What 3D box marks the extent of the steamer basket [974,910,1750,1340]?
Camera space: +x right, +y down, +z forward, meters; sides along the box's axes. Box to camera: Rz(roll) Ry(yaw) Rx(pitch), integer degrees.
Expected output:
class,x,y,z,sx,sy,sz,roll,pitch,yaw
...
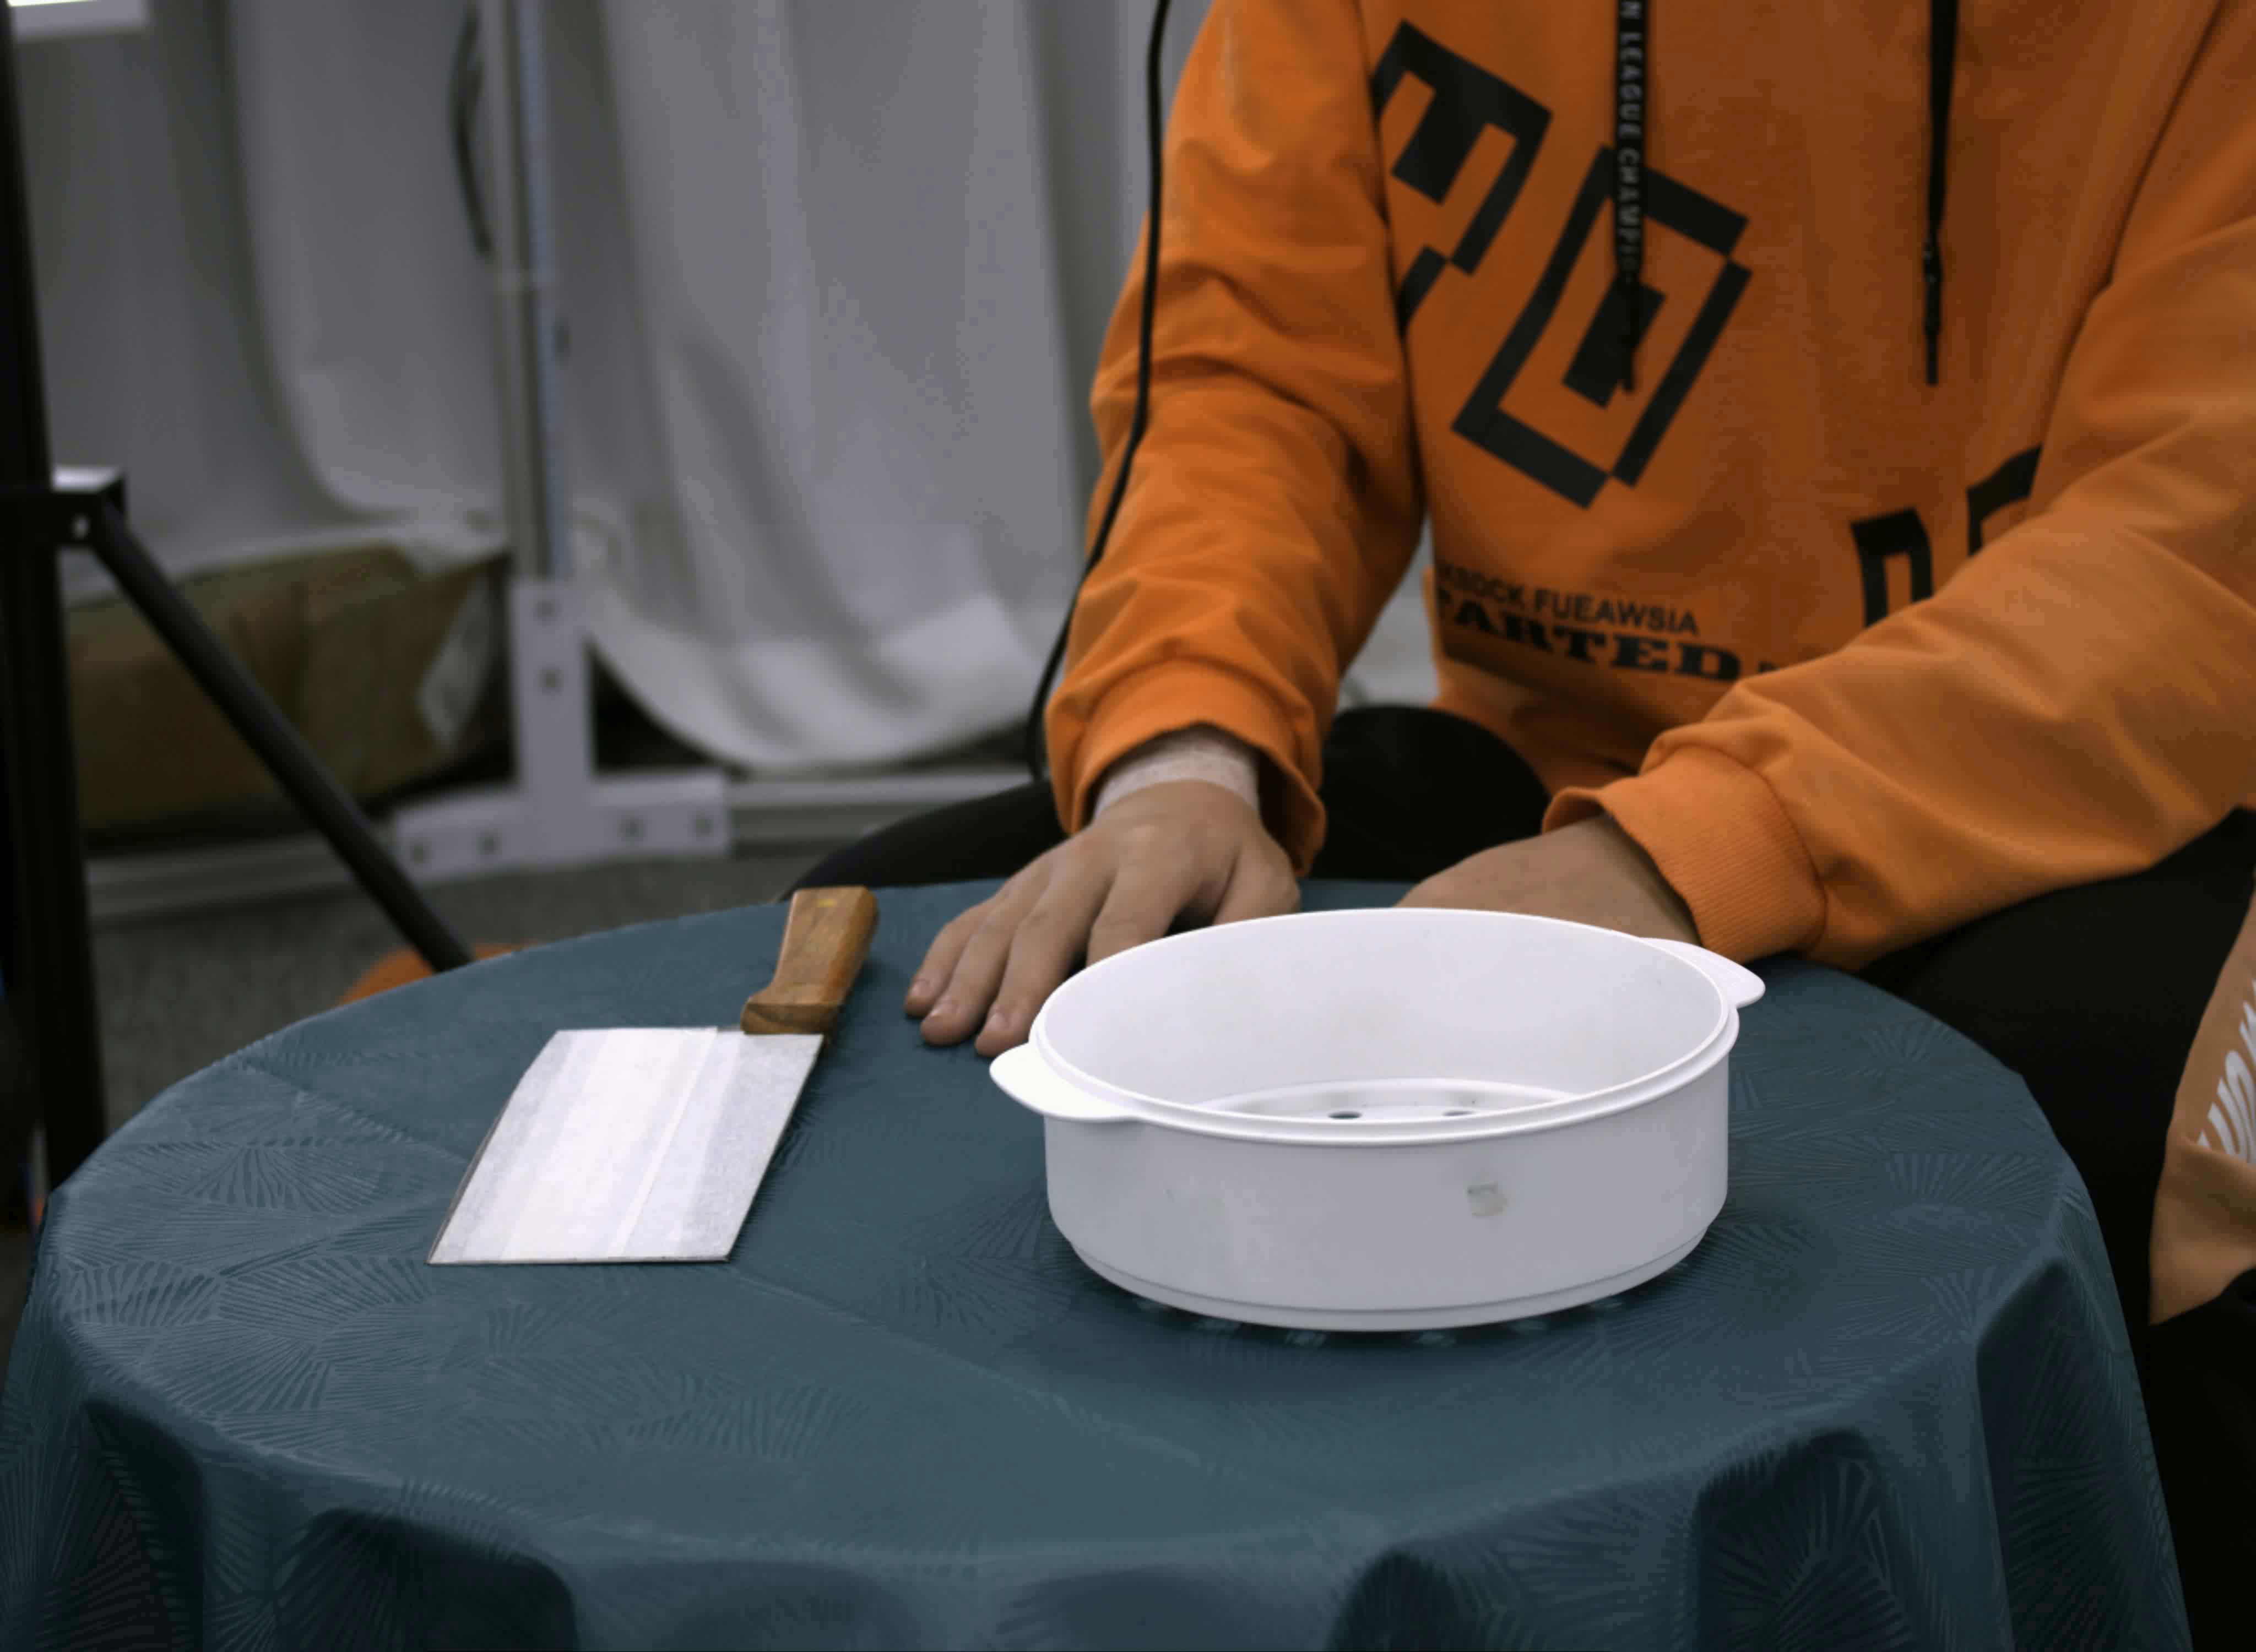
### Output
class,x,y,z,sx,sy,sz,roll,pitch,yaw
steamer basket,0.069,0.085,1.503,0.226,0.069,0.206,-11,17,-21

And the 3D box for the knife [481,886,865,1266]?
class,x,y,z,sx,sy,sz,roll,pitch,yaw
knife,-0.141,0.076,1.665,0.093,0.021,0.305,-2,18,7
